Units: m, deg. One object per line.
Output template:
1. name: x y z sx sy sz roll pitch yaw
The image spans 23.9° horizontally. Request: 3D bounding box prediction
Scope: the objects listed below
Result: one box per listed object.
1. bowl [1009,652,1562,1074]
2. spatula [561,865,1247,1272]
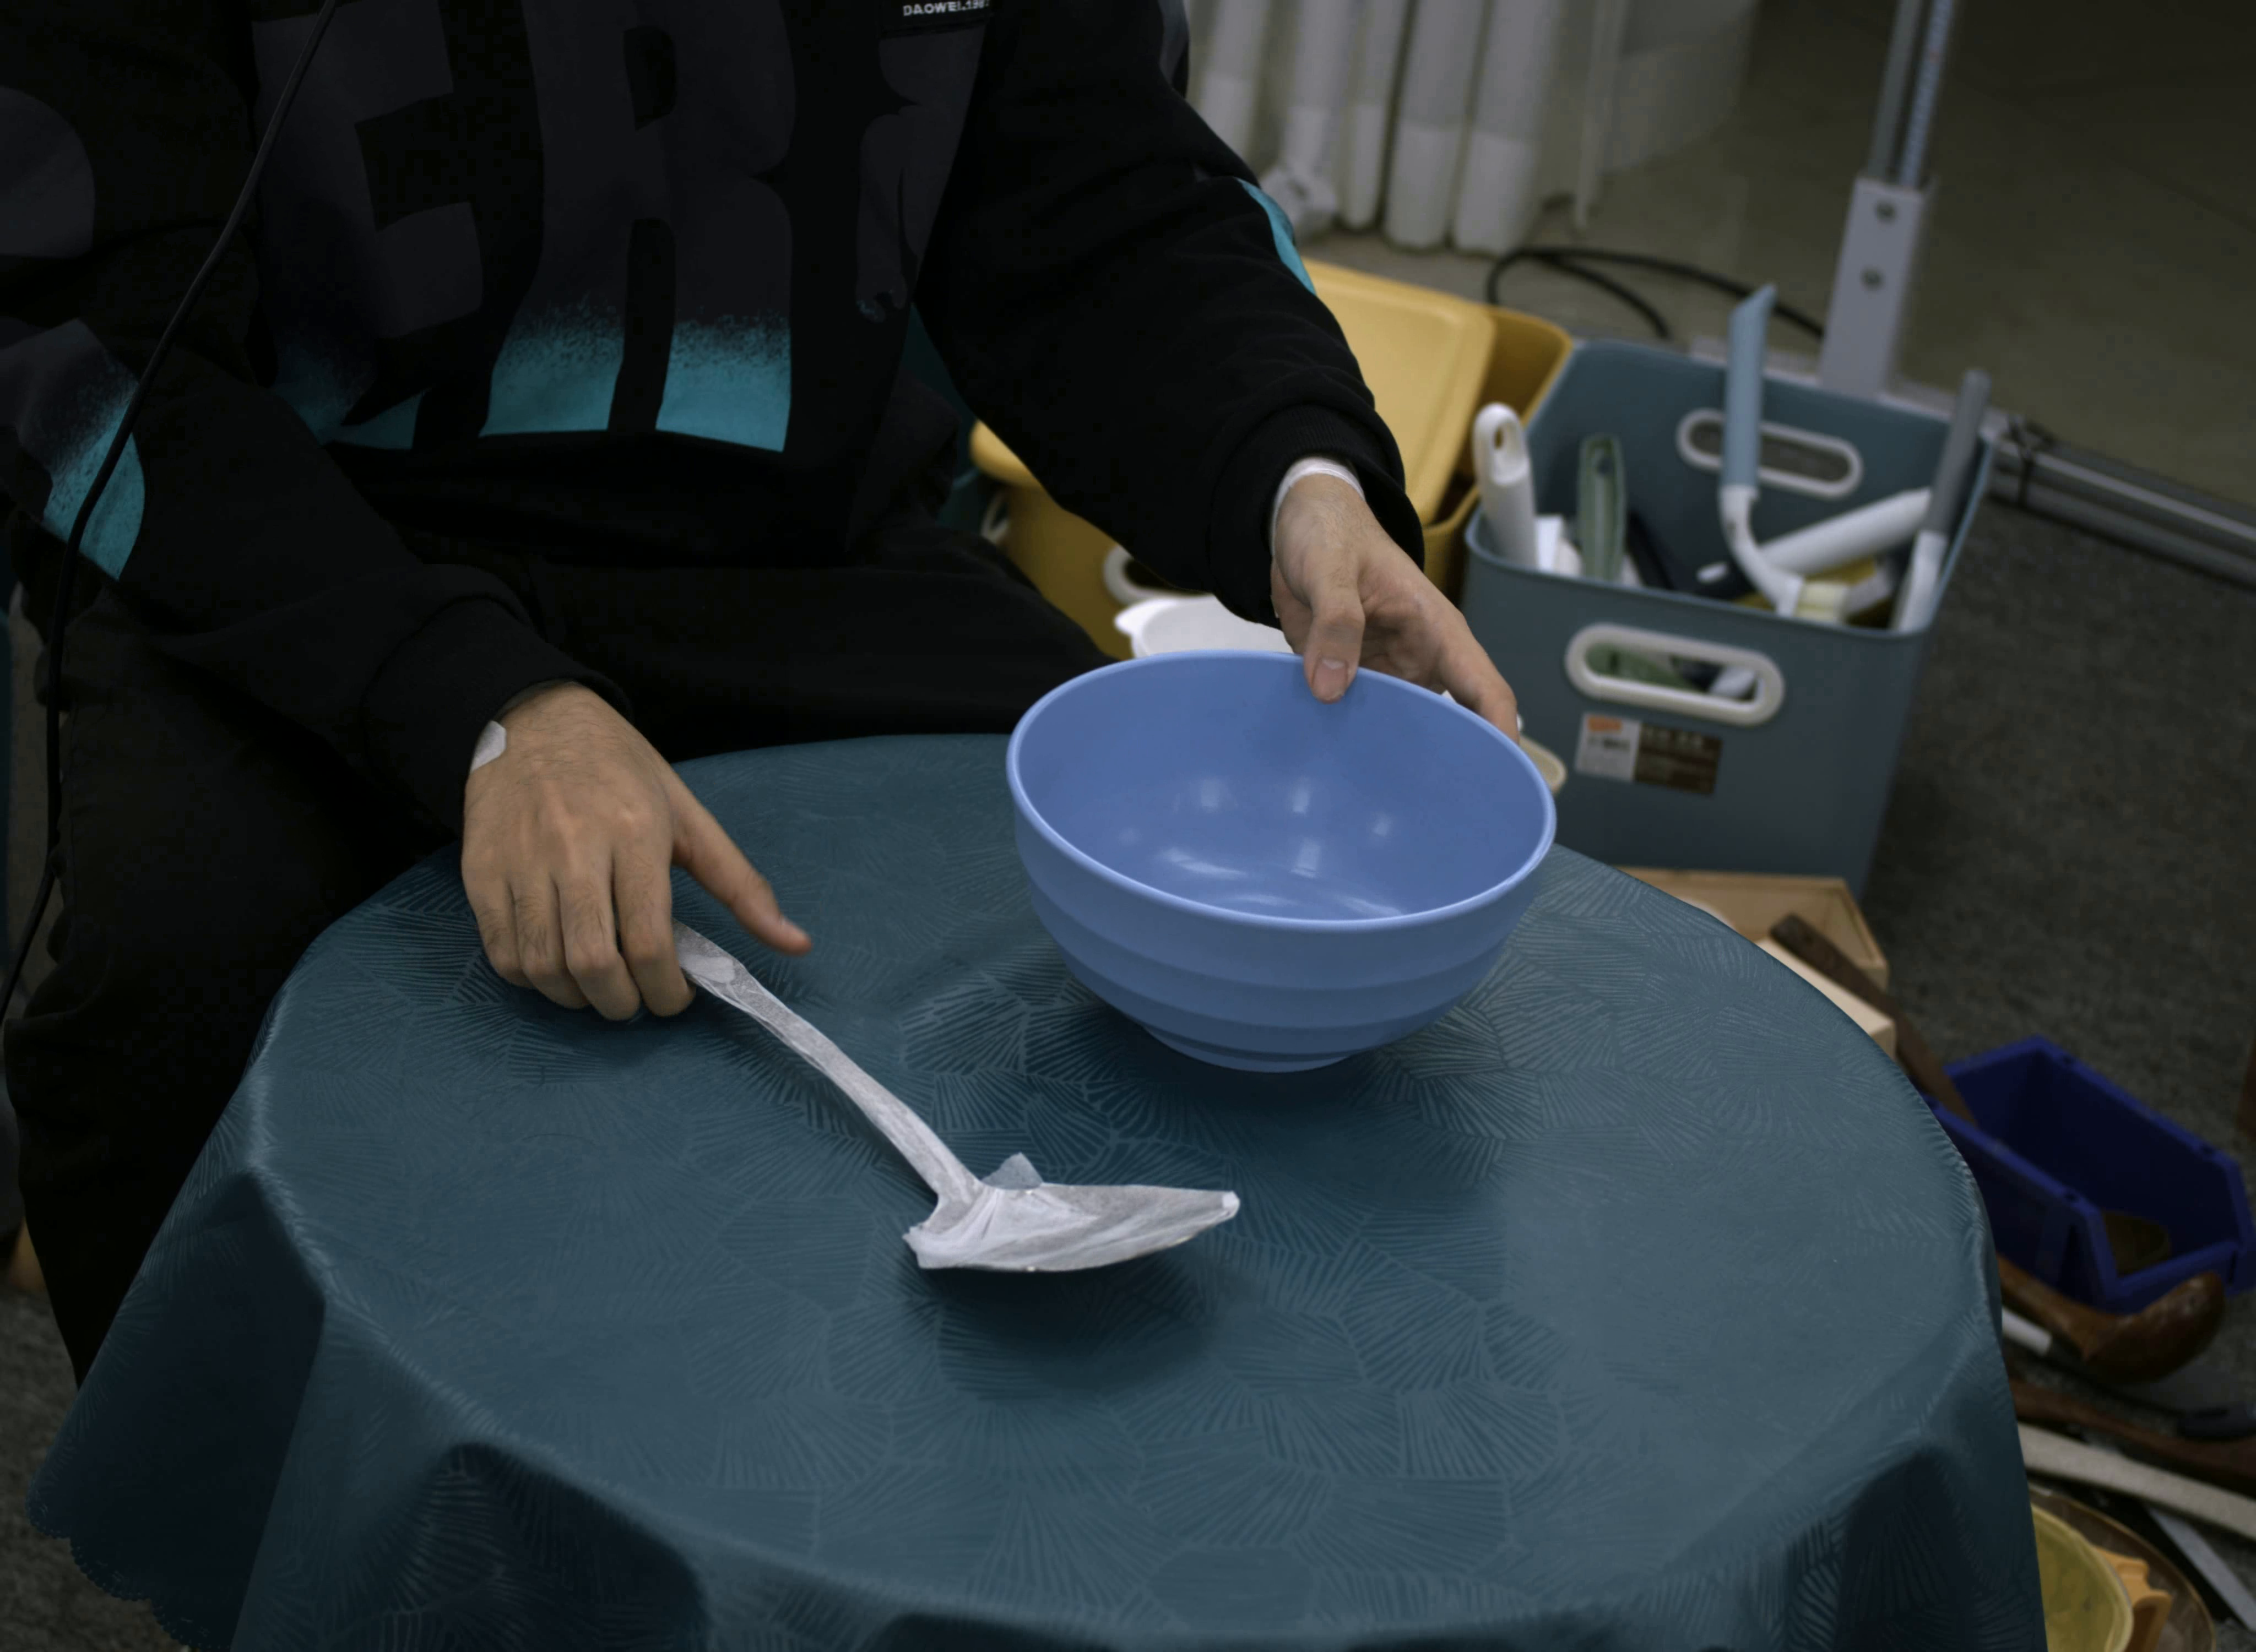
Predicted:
1. bowl: 0.051 0.025 1.899 0.196 0.095 0.198 5 29 -3
2. spatula: -0.100 0.076 1.830 0.098 0.044 0.368 -15 34 -34
